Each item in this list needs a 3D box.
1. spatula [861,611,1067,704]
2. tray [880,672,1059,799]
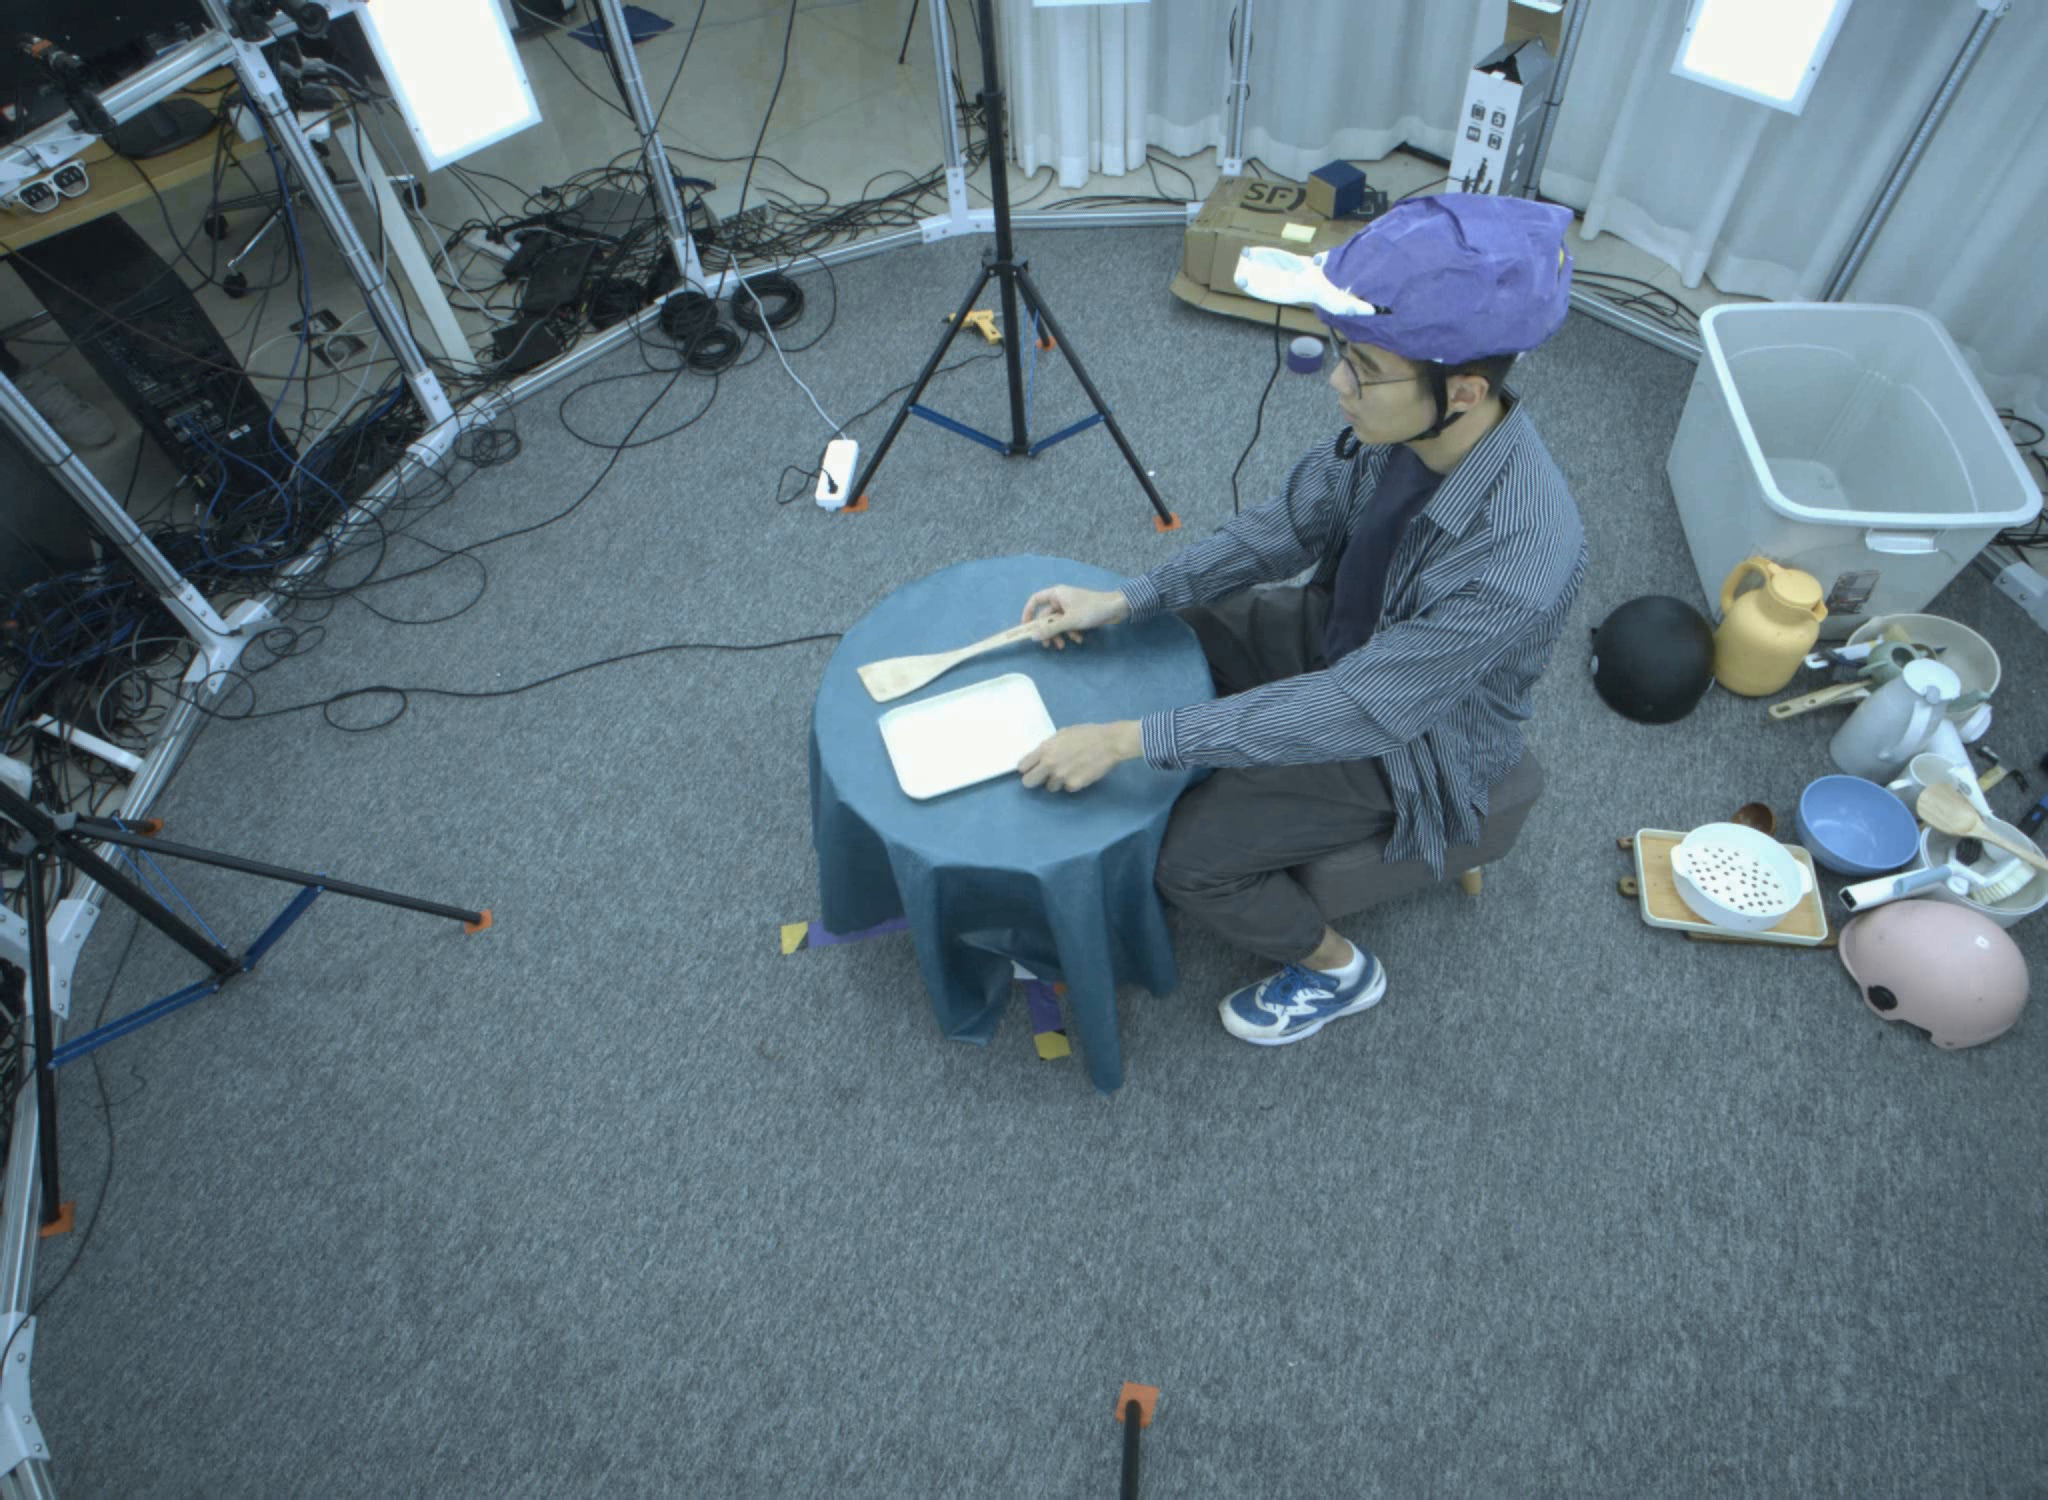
[{"bbox_3d":[-0.088,-0.150,1.878,0.328,0.017,0.078,-21,57,-4],"label":"spatula"},{"bbox_3d":[-0.081,-0.022,1.799,0.241,0.017,0.168,-17,57,-11],"label":"tray"}]
